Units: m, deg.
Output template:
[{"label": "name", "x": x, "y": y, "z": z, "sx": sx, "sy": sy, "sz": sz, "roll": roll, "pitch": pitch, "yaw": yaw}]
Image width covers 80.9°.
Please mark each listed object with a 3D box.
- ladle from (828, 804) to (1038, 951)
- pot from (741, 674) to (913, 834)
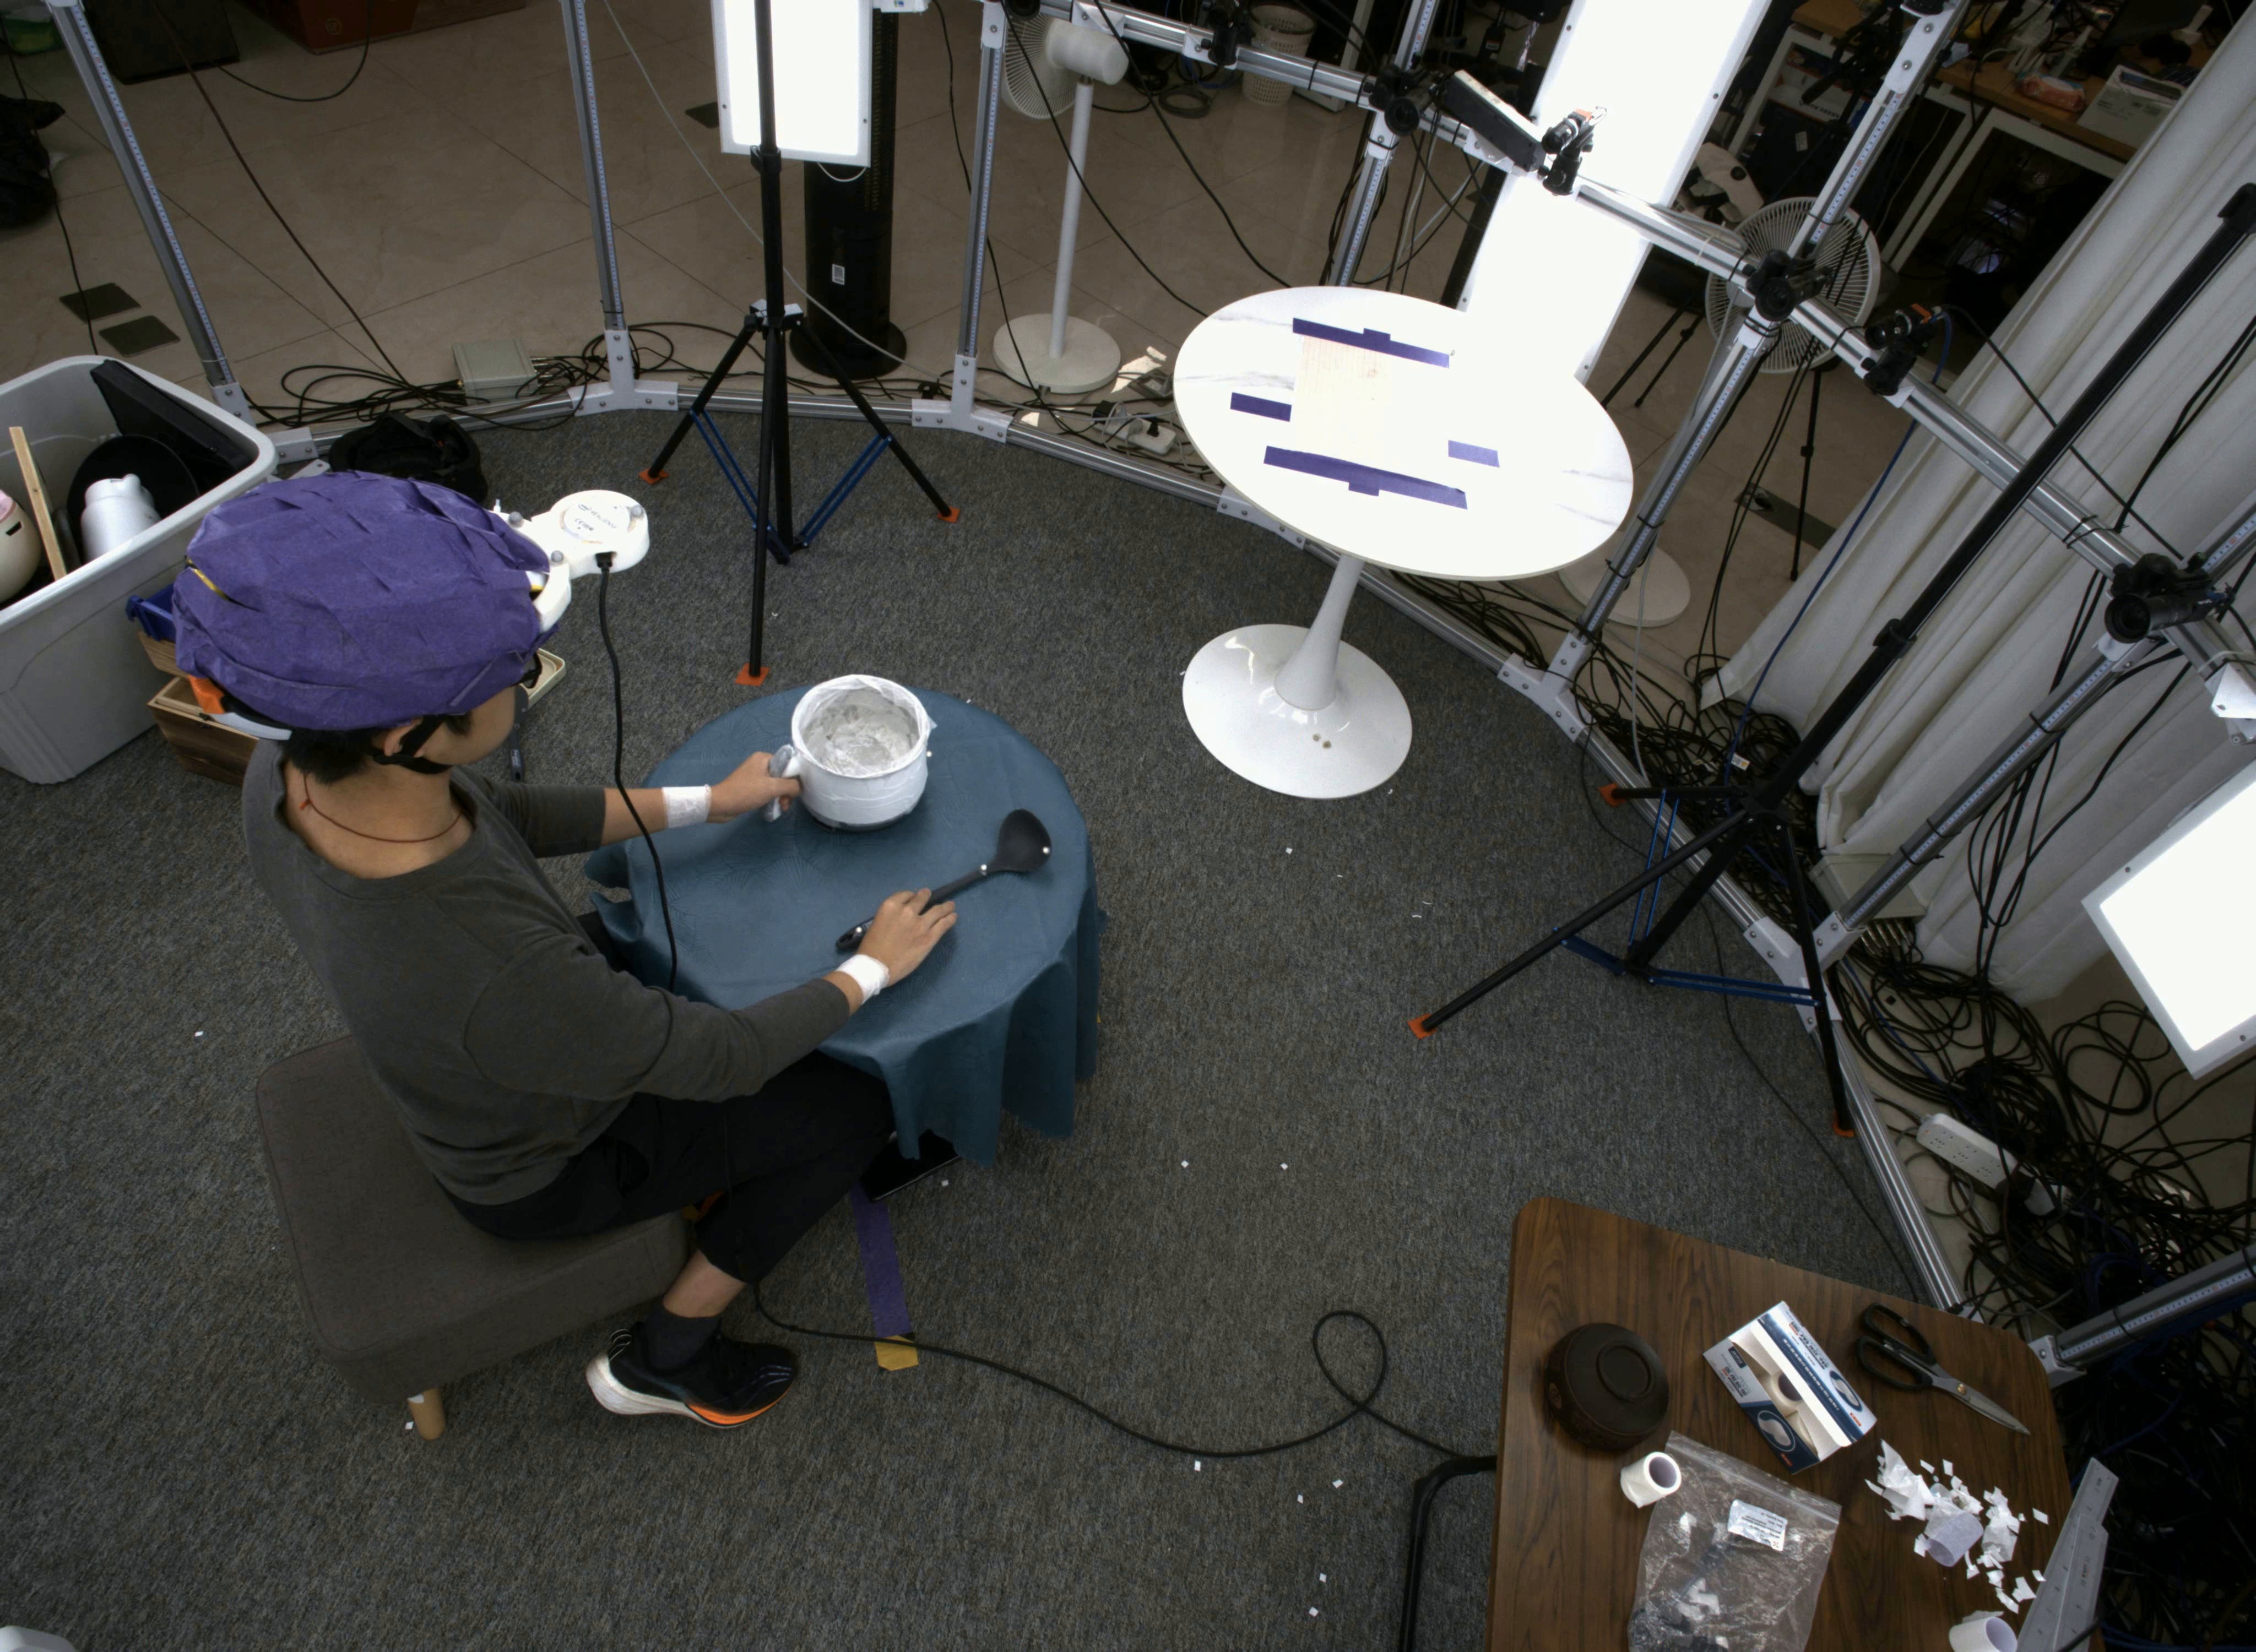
[{"label": "ladle", "x": -0.253, "y": 0.069, "z": 1.687, "sx": 0.315, "sy": 0.065, "sz": 0.084, "roll": -29, "pitch": 62, "yaw": -30}, {"label": "pot", "x": -0.400, "y": -0.082, "z": 1.714, "sx": 0.235, "sy": 0.139, "sz": 0.174, "roll": -25, "pitch": 62, "yaw": -28}]
